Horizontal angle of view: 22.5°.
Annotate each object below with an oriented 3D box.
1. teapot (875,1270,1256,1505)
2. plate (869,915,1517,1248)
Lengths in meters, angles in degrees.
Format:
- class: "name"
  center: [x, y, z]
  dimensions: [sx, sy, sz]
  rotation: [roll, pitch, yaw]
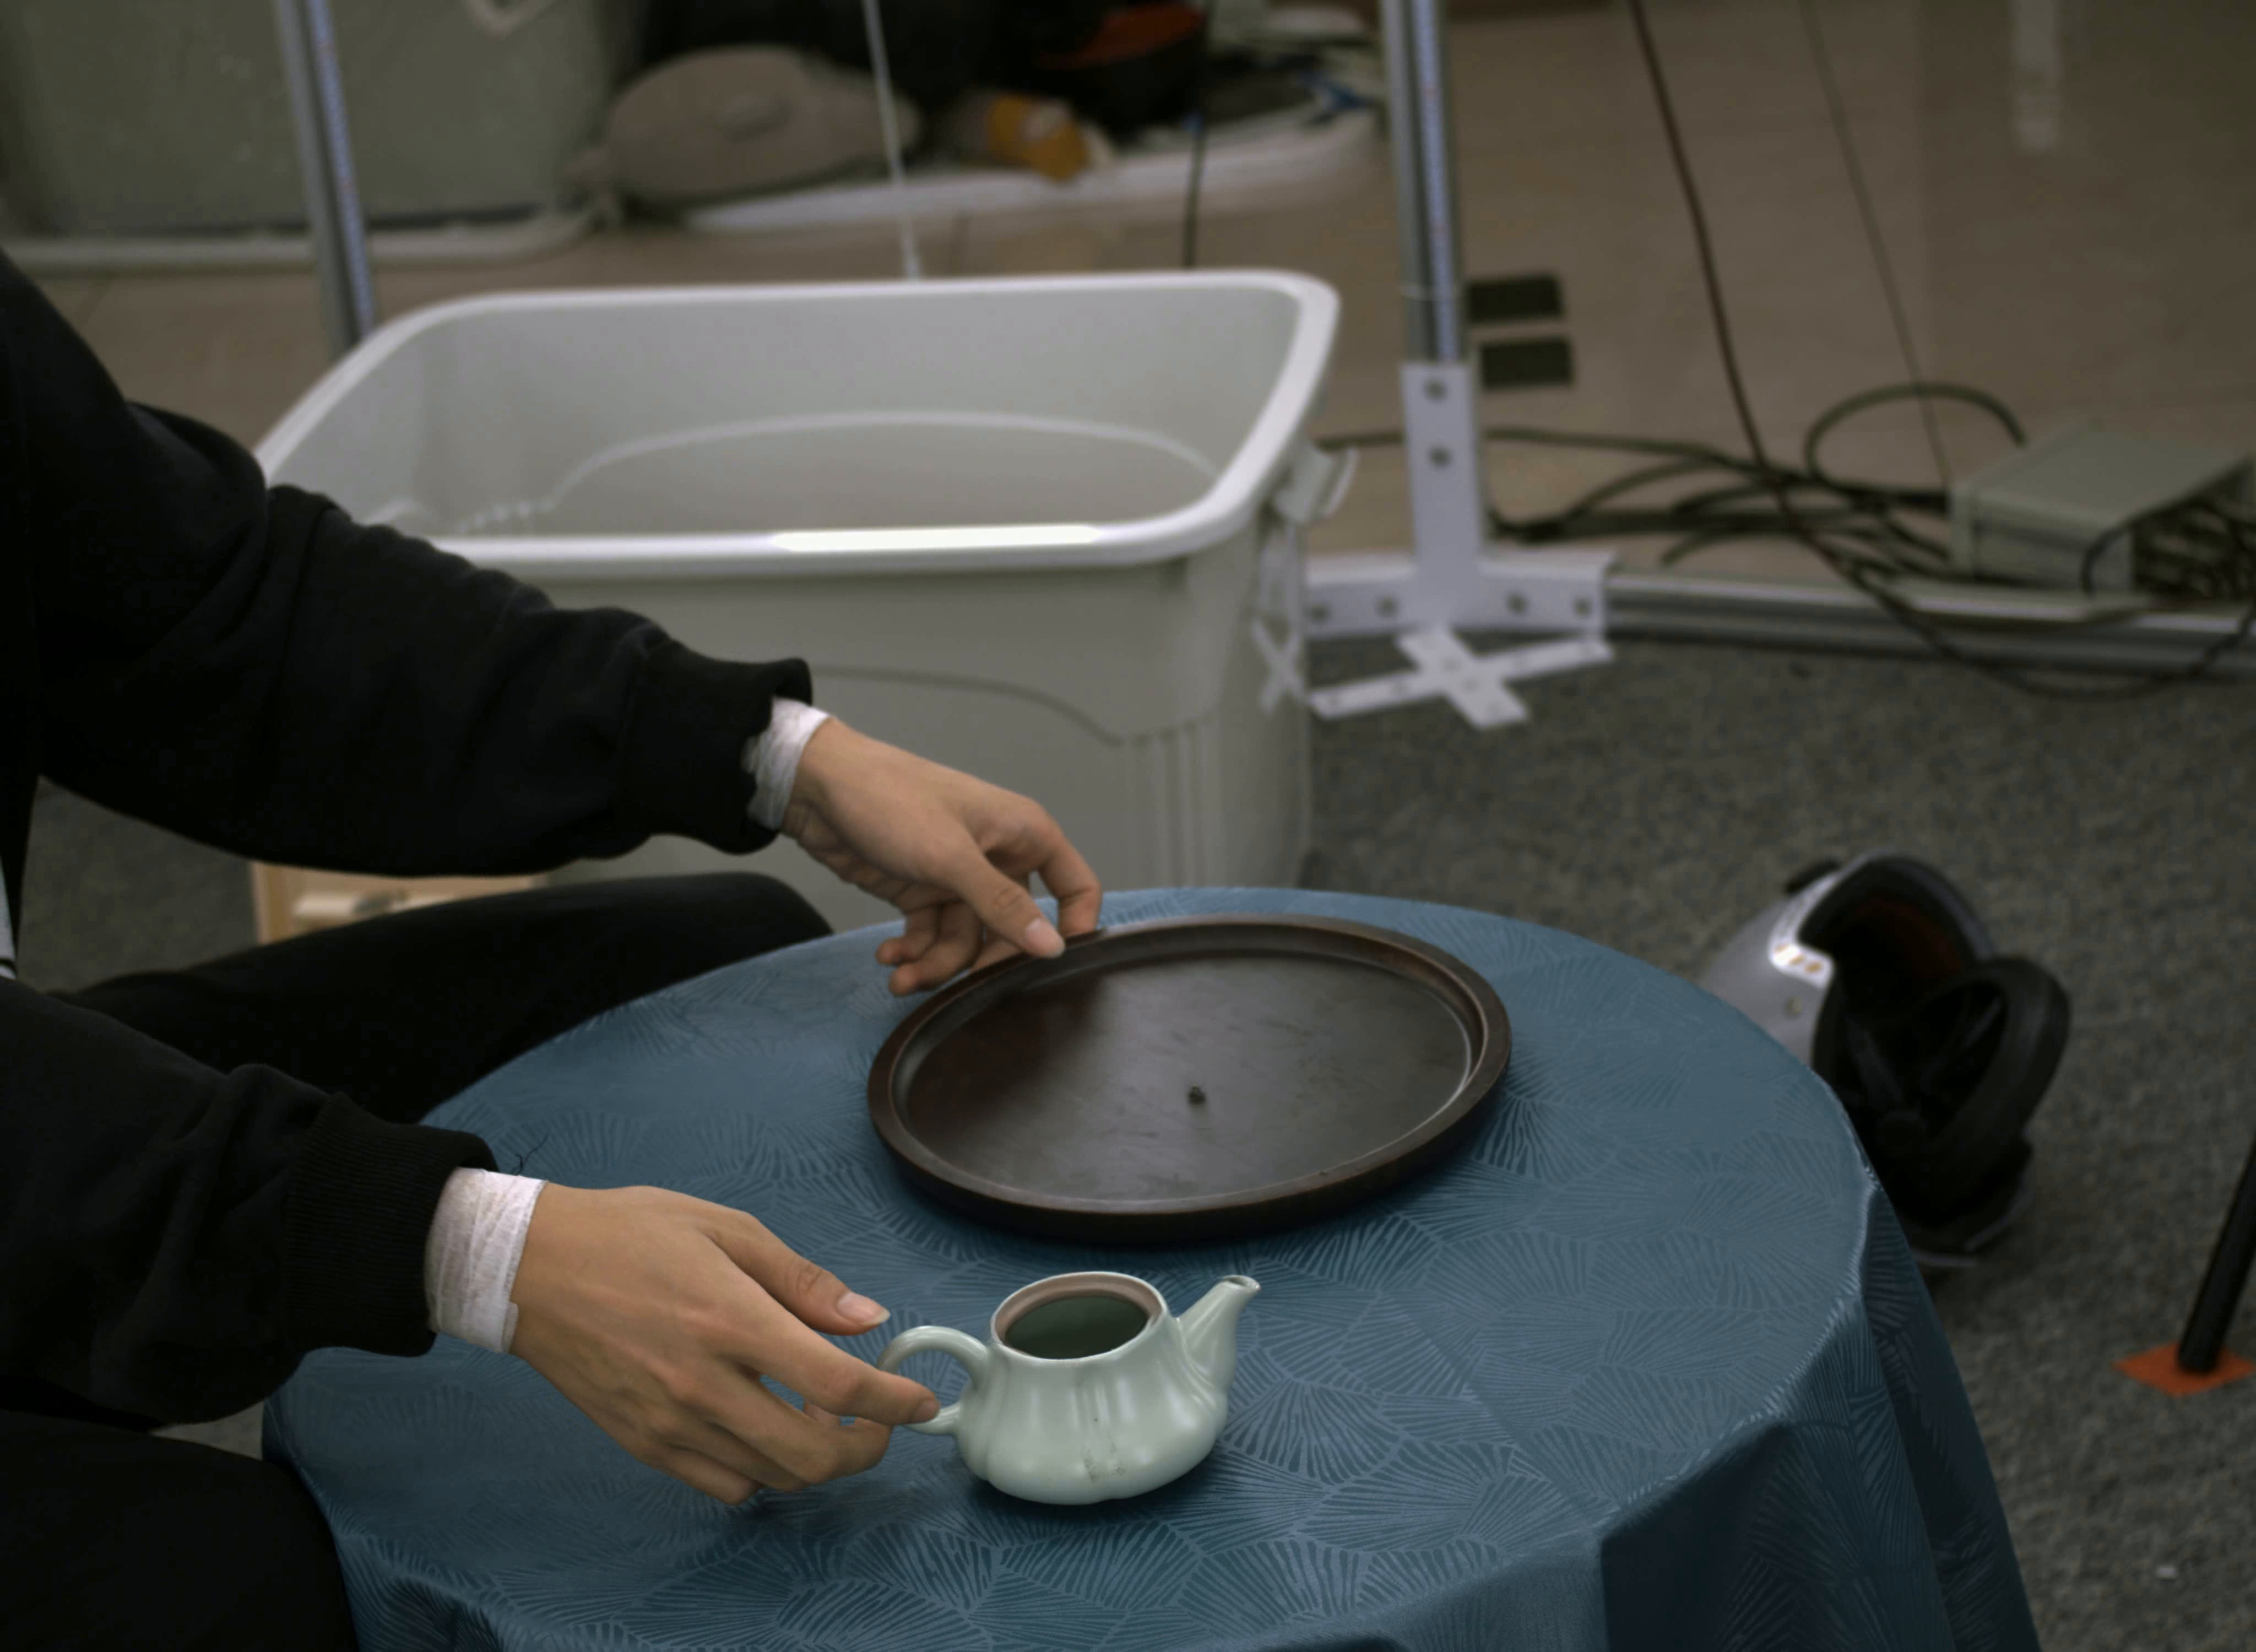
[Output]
- class: "teapot"
  center: [-0.019, 0.193, 1.966]
  dimensions: [0.136, 0.062, 0.095]
  rotation: [-10, 27, -8]
- class: "plate"
  center: [0.025, 0.097, 2.204]
  dimensions: [0.254, 0.029, 0.251]
  rotation: [-4, 26, 2]
